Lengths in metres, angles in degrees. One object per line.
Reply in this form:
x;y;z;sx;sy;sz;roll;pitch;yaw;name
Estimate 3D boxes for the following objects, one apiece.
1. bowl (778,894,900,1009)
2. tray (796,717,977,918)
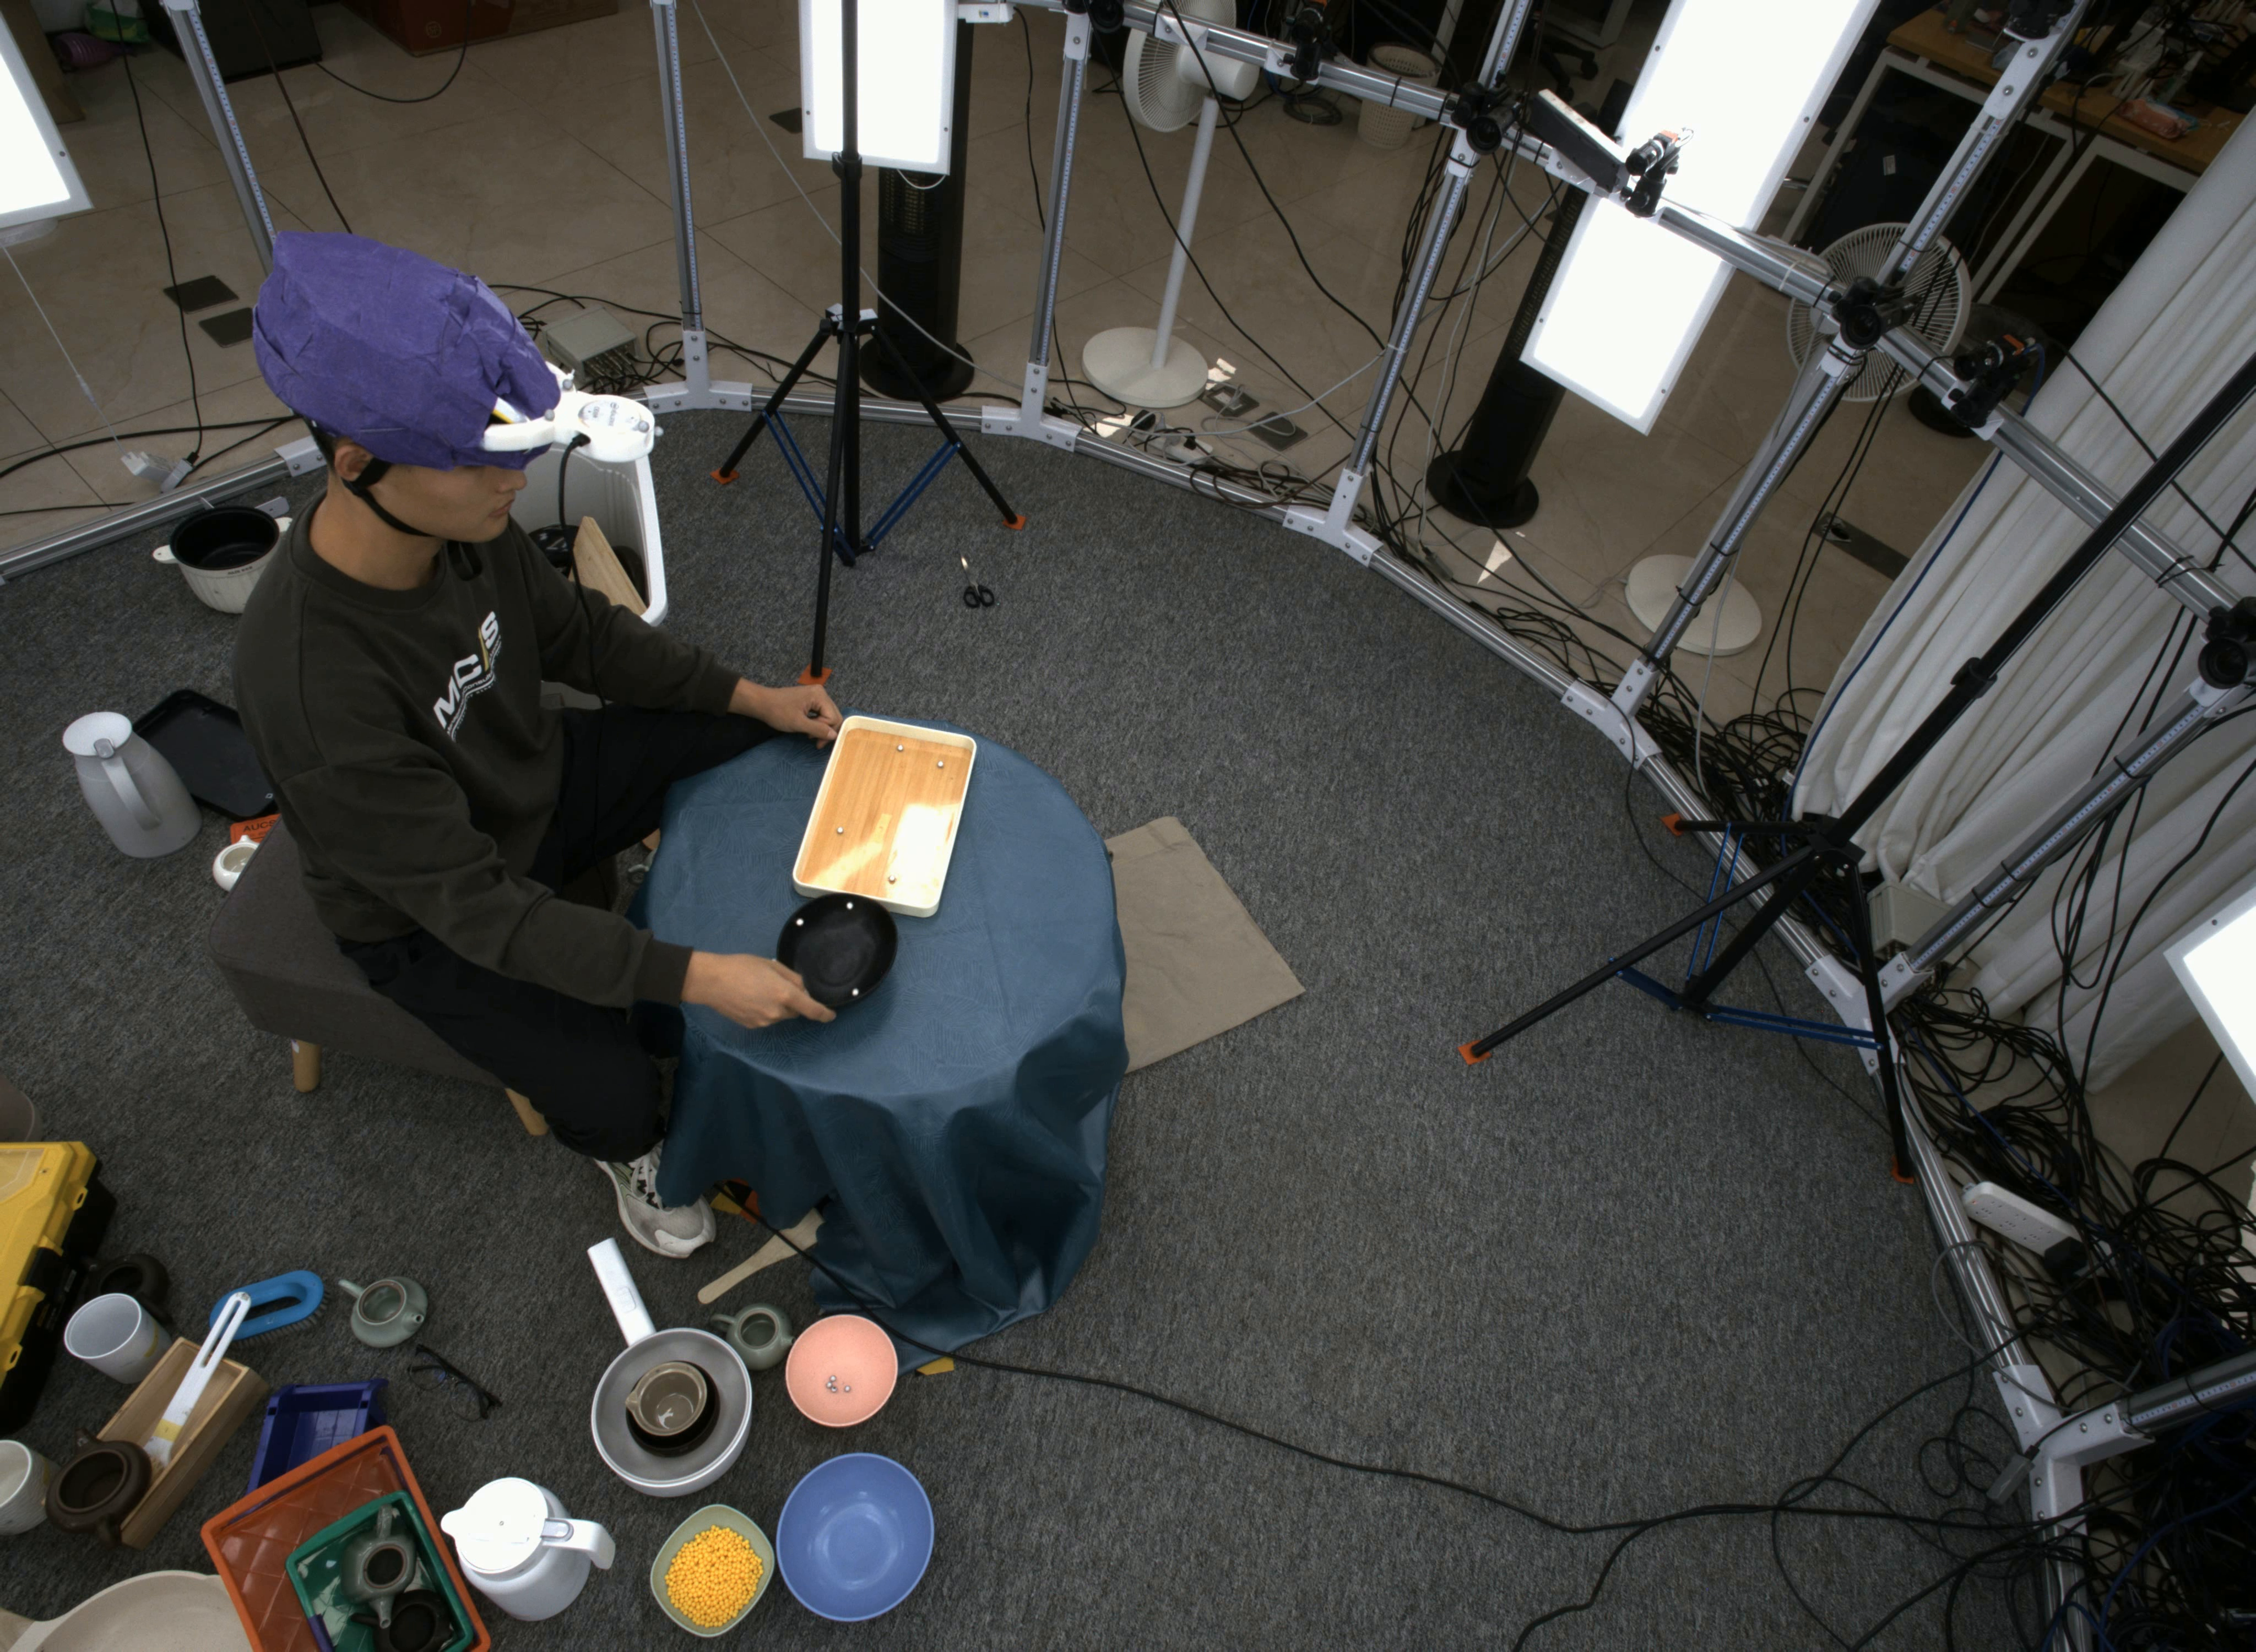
-0.353;0.157;1.584;0.137;0.067;0.169;28;49;-2;bowl
-0.320;-0.017;1.756;0.190;0.028;0.295;11;52;-5;tray
